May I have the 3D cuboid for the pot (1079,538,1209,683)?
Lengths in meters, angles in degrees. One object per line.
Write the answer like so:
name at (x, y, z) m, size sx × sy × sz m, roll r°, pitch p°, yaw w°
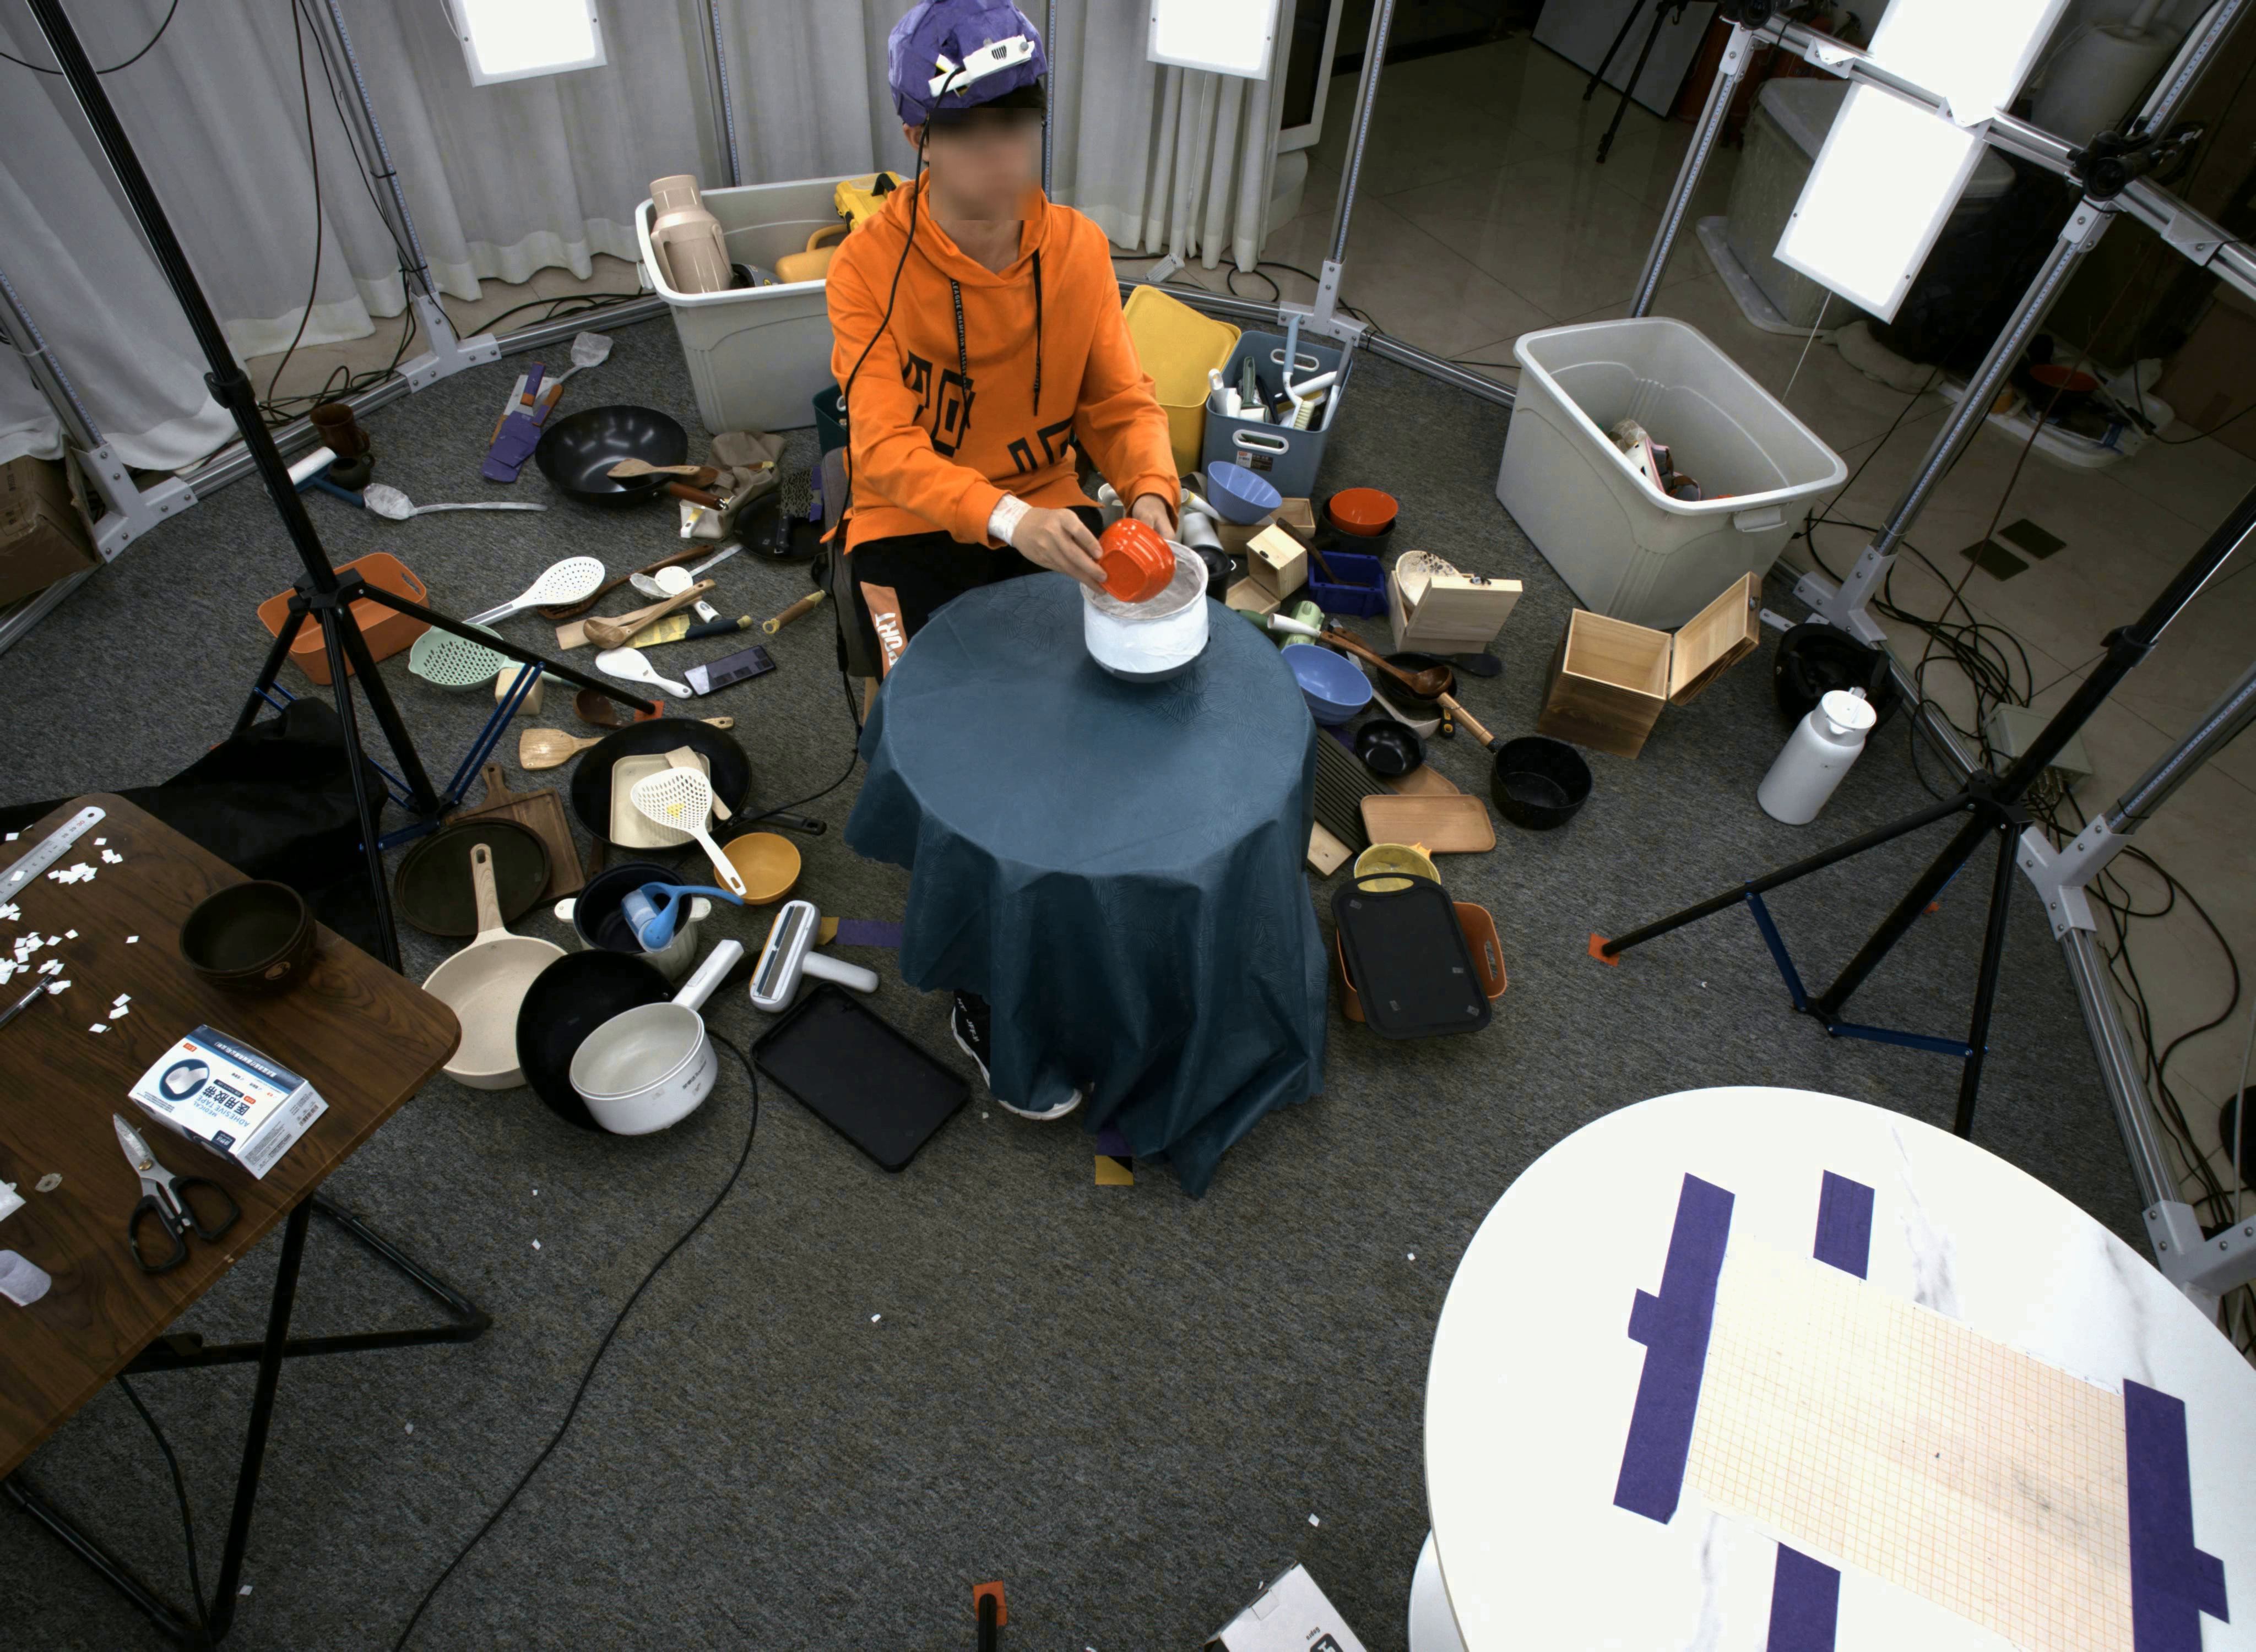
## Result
pot at (0.024, -0.320, 1.824) m, size 0.178 × 0.133 × 0.239 m, roll -4°, pitch 48°, yaw 1°

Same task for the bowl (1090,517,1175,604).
bowl at (-0.003, -0.339, 1.687) m, size 0.119 × 0.116 × 0.052 m, roll 22°, pitch 42°, yaw 14°
